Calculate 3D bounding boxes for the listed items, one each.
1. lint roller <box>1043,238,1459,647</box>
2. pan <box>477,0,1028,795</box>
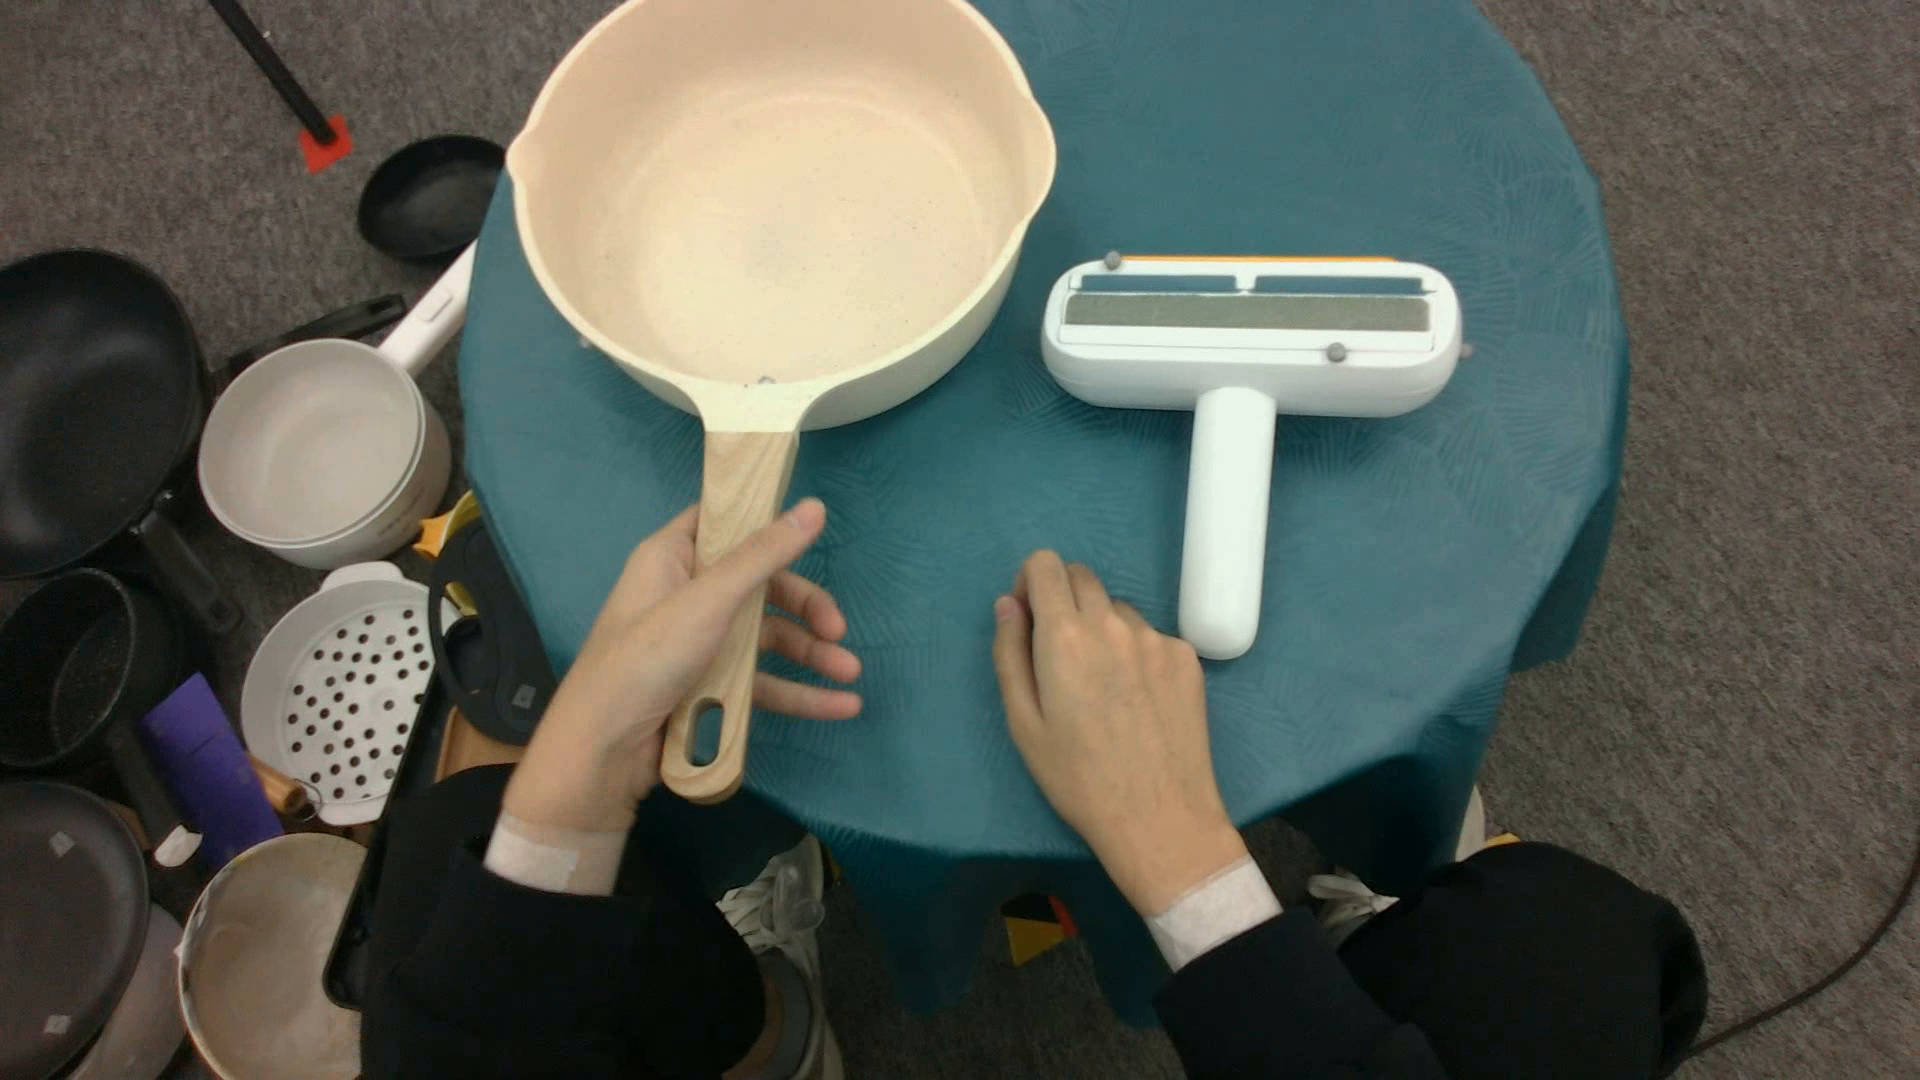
[{"bbox_3d":[0.124,-0.047,0.645,0.193,0.074,0.193,9,71,11],"label":"lint roller"},{"bbox_3d":[-0.100,-0.090,0.653,0.263,0.101,0.436,1,69,0],"label":"pan"}]
